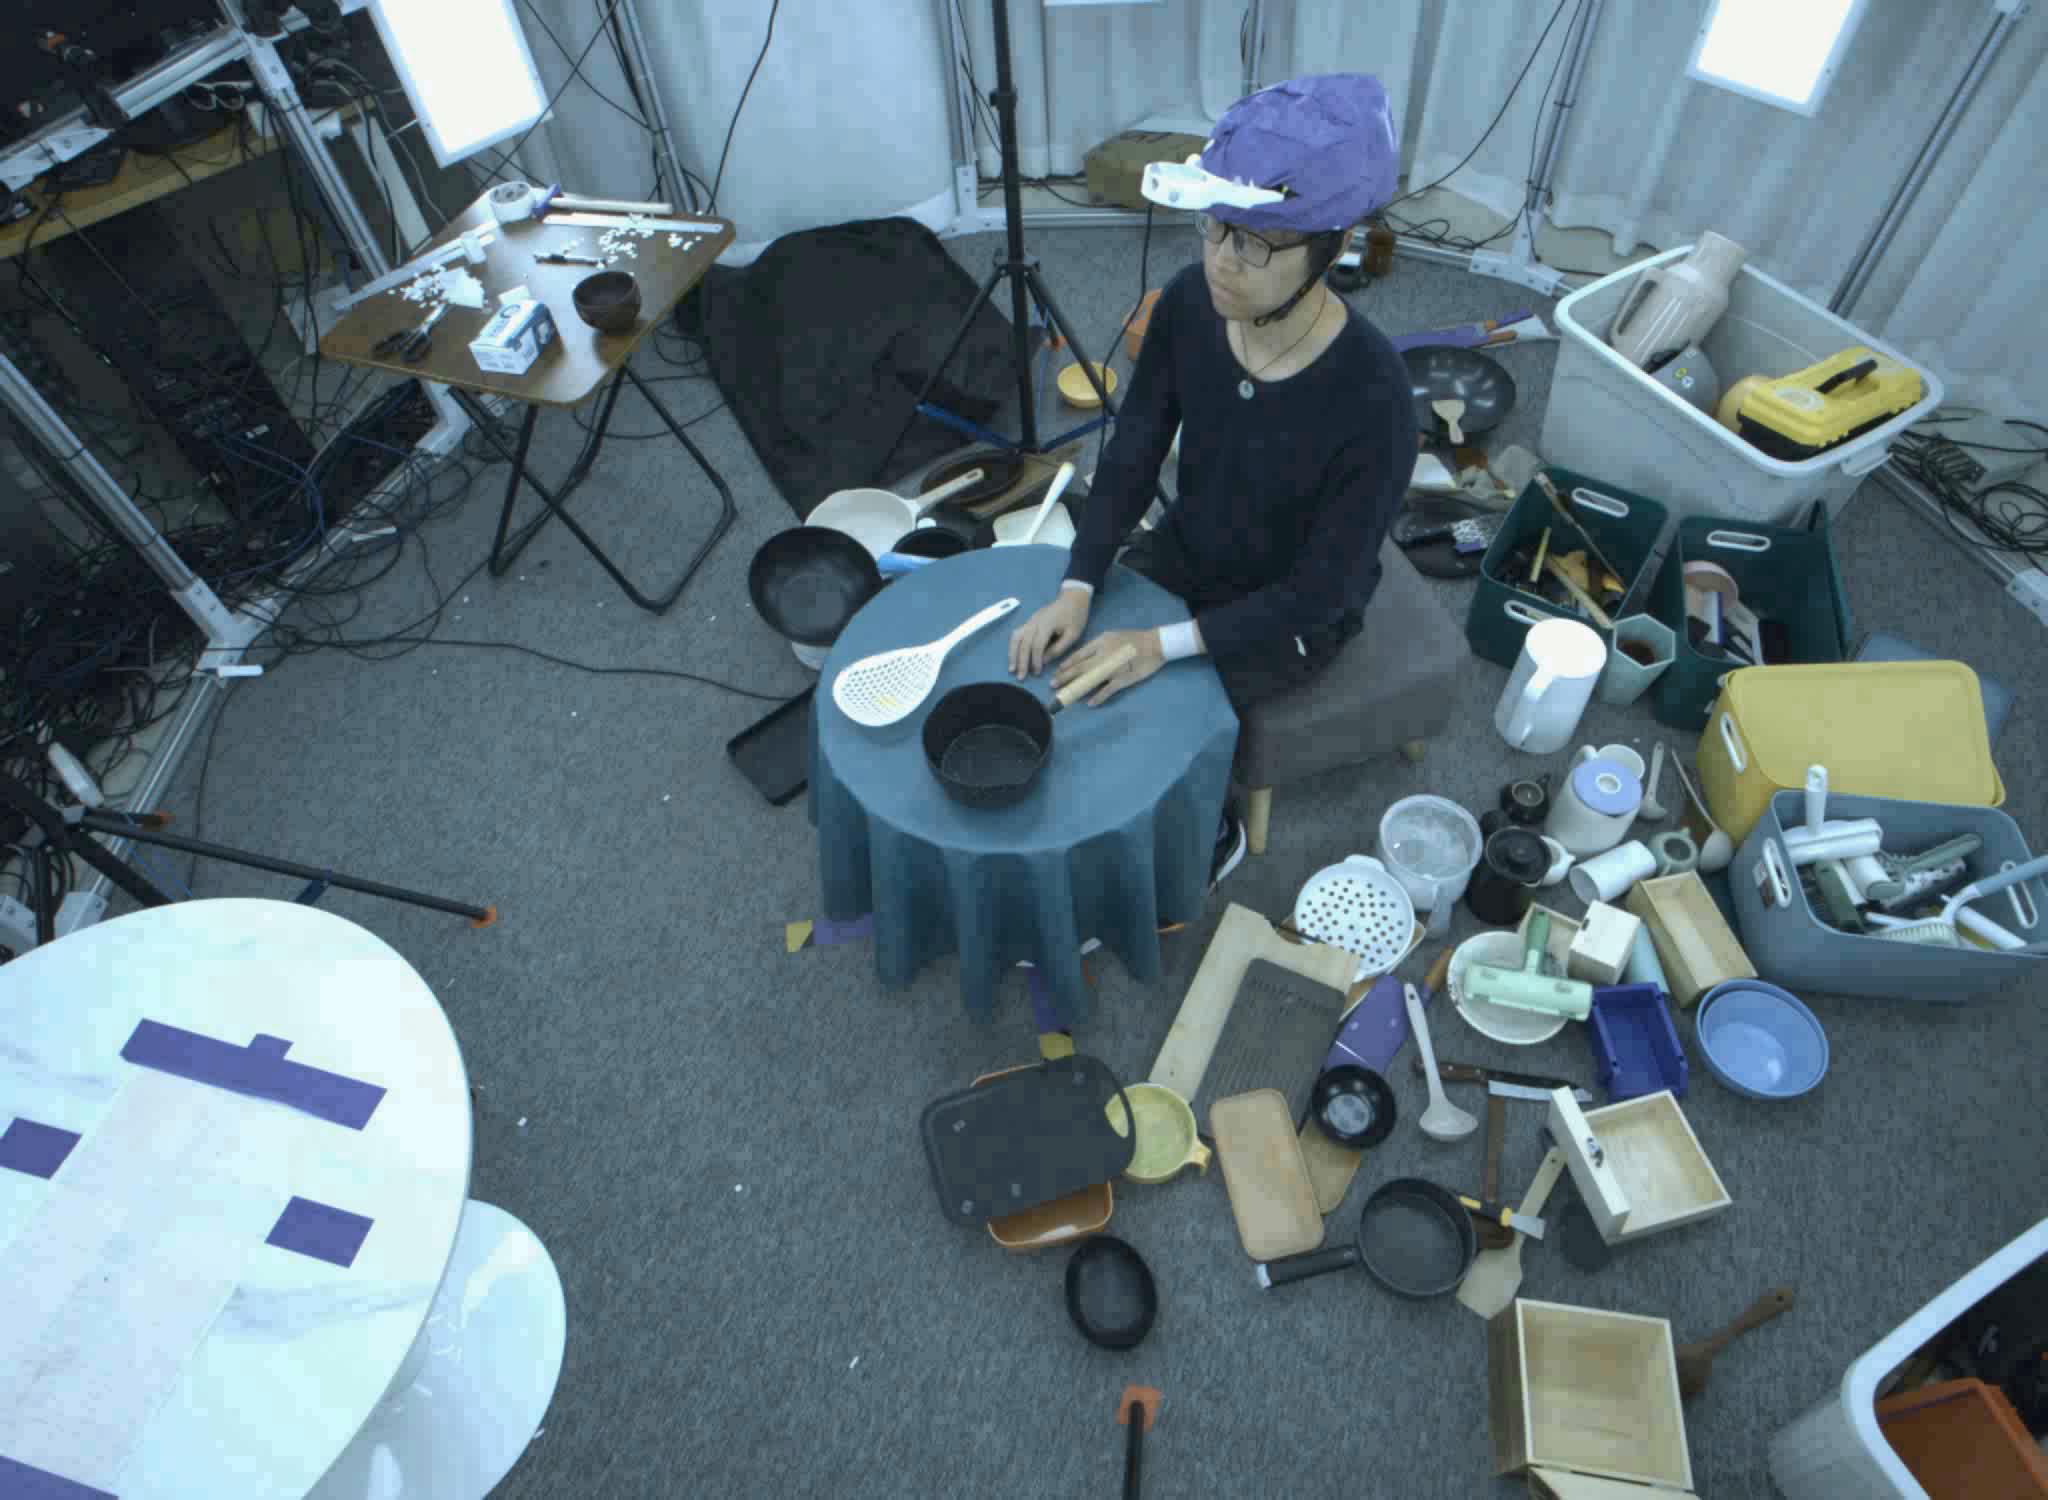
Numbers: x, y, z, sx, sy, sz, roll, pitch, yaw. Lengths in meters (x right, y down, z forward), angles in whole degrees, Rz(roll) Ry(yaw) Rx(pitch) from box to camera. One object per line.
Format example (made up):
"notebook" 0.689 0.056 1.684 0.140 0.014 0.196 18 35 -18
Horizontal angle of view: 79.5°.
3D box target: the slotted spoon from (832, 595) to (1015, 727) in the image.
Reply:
"slotted spoon" -0.137 -0.146 1.869 0.134 0.051 0.350 37 65 27

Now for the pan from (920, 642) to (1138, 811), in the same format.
"pan" 0.016 -0.044 1.751 0.345 0.109 0.203 -30 58 -16
